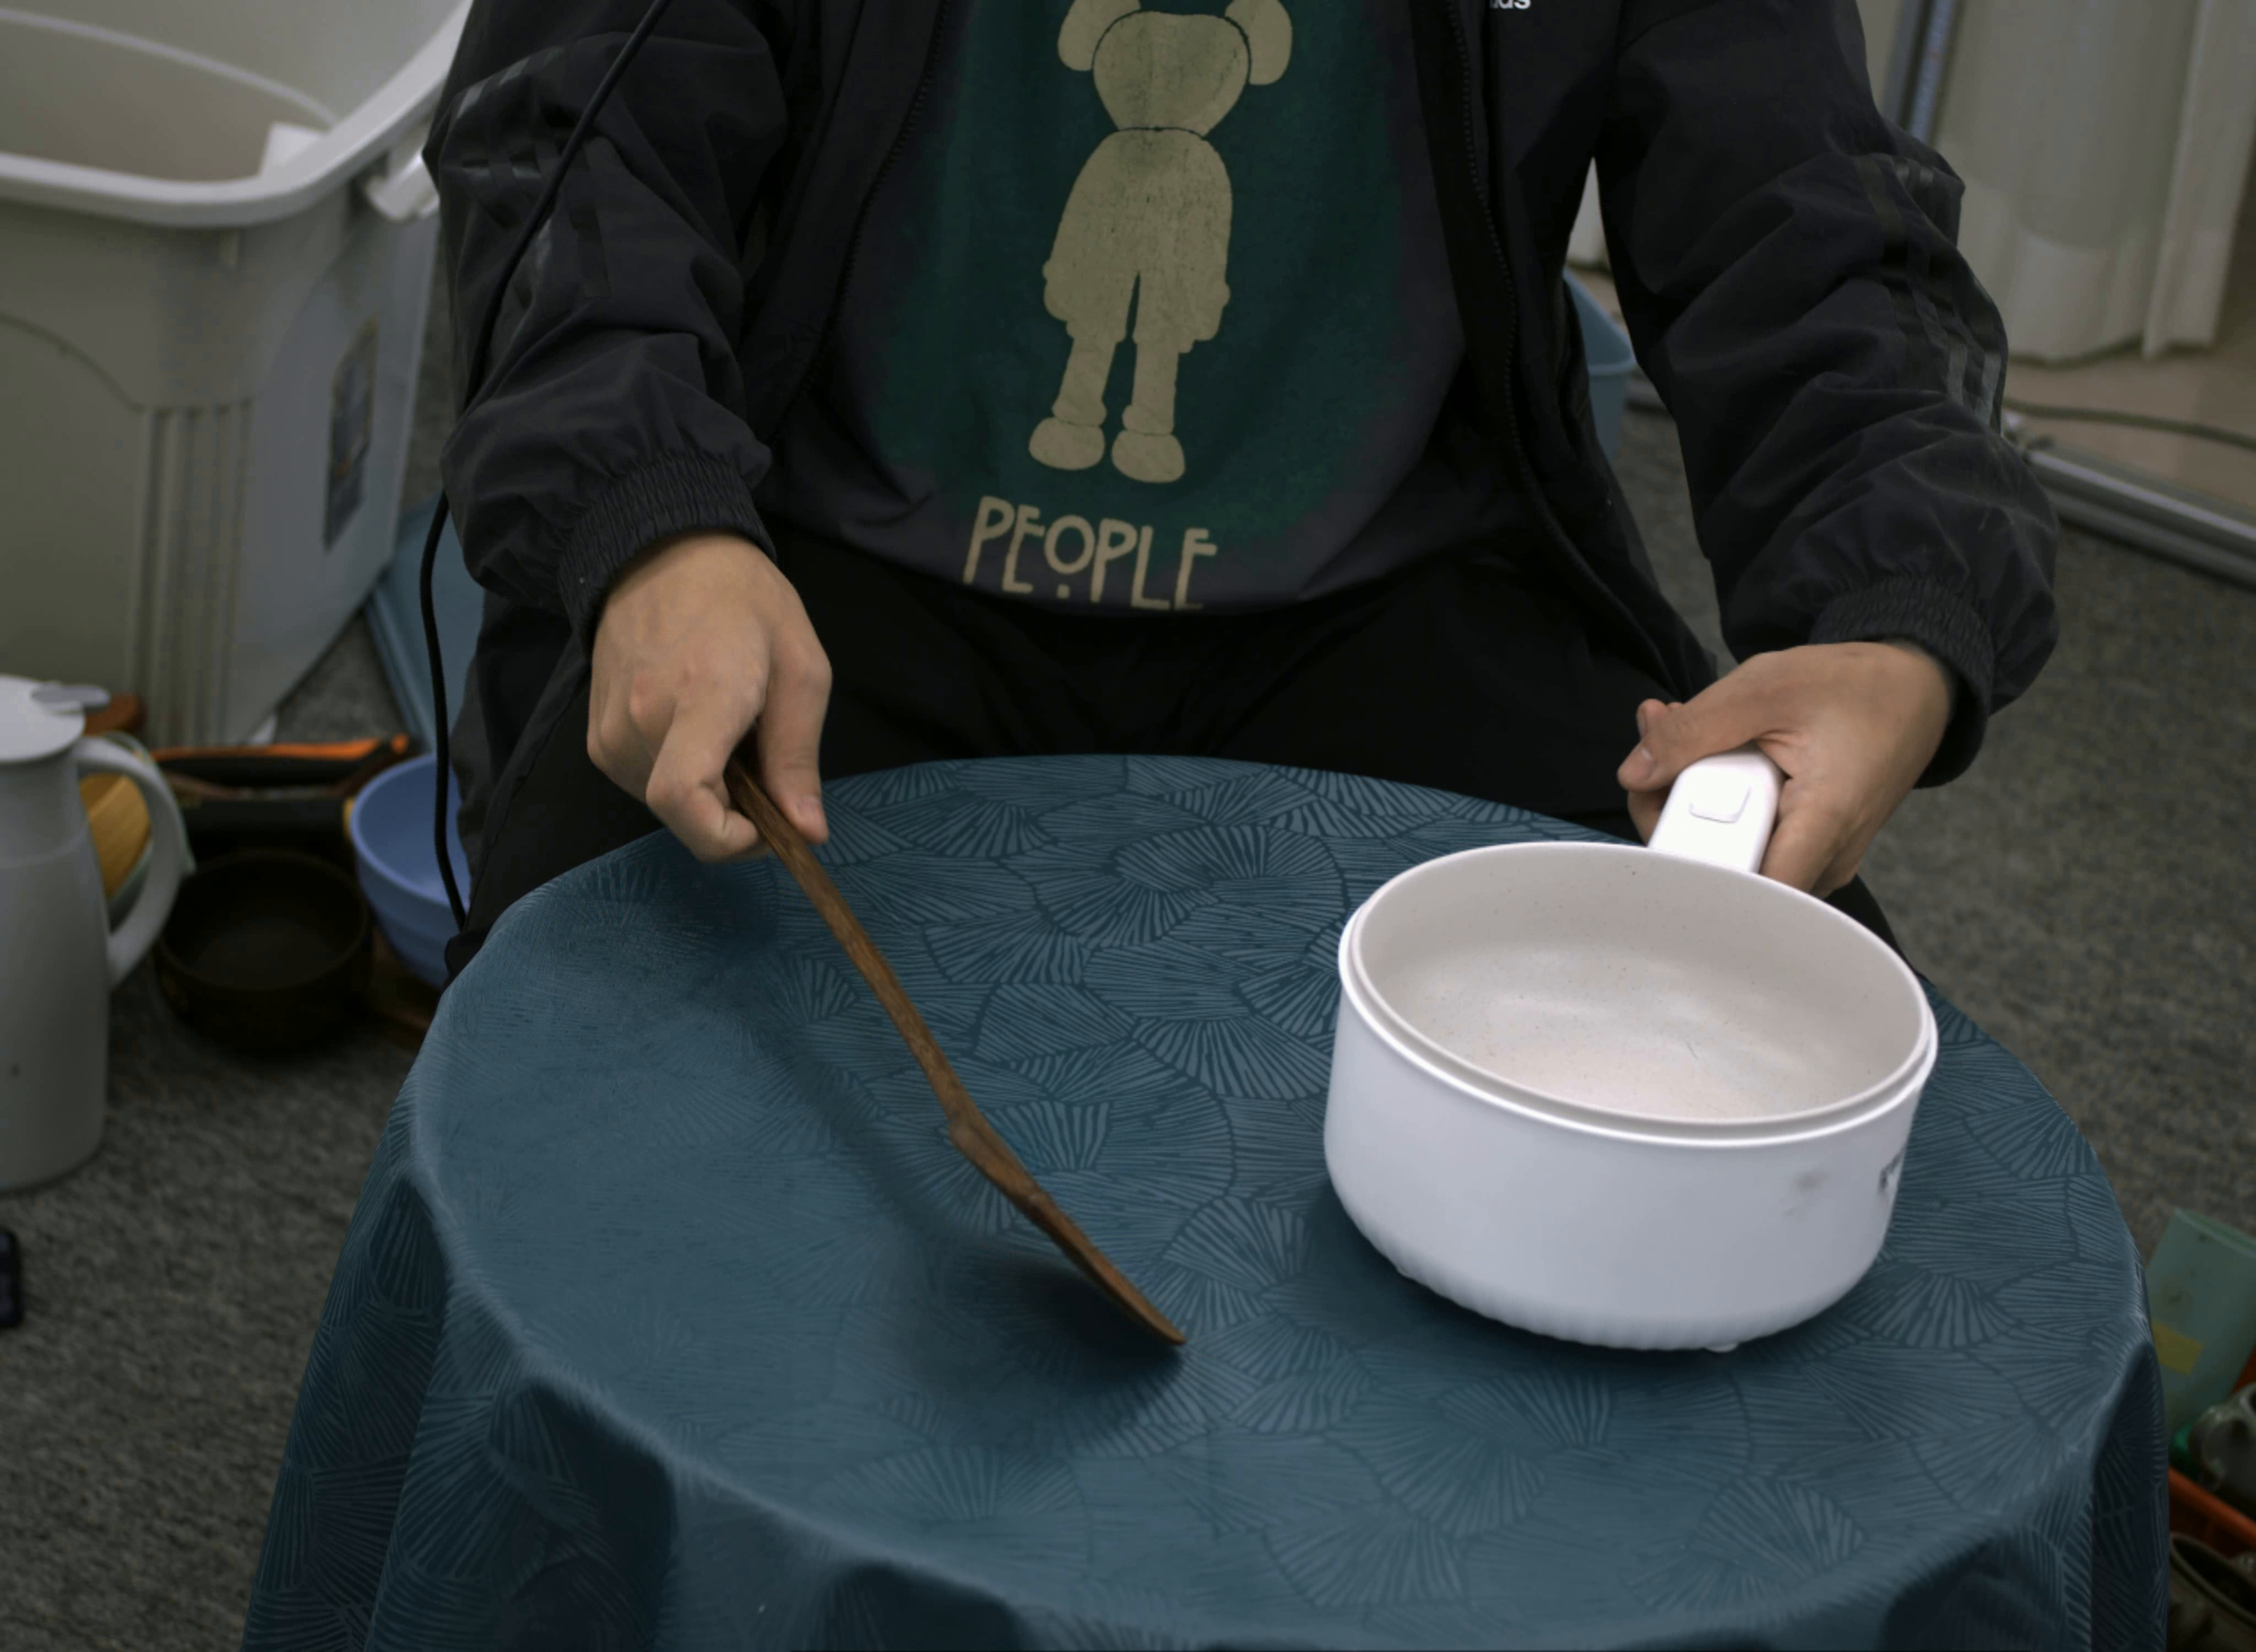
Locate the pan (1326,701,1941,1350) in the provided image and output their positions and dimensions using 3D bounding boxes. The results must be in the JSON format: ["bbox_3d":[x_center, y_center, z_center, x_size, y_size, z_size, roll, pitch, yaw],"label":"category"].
[{"bbox_3d":[0.187,0.064,1.857,0.201,0.102,0.355,13,26,12],"label":"pan"}]

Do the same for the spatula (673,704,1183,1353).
[{"bbox_3d":[-0.082,0.055,1.821,0.016,0.095,0.389,-41,40,2],"label":"spatula"}]
